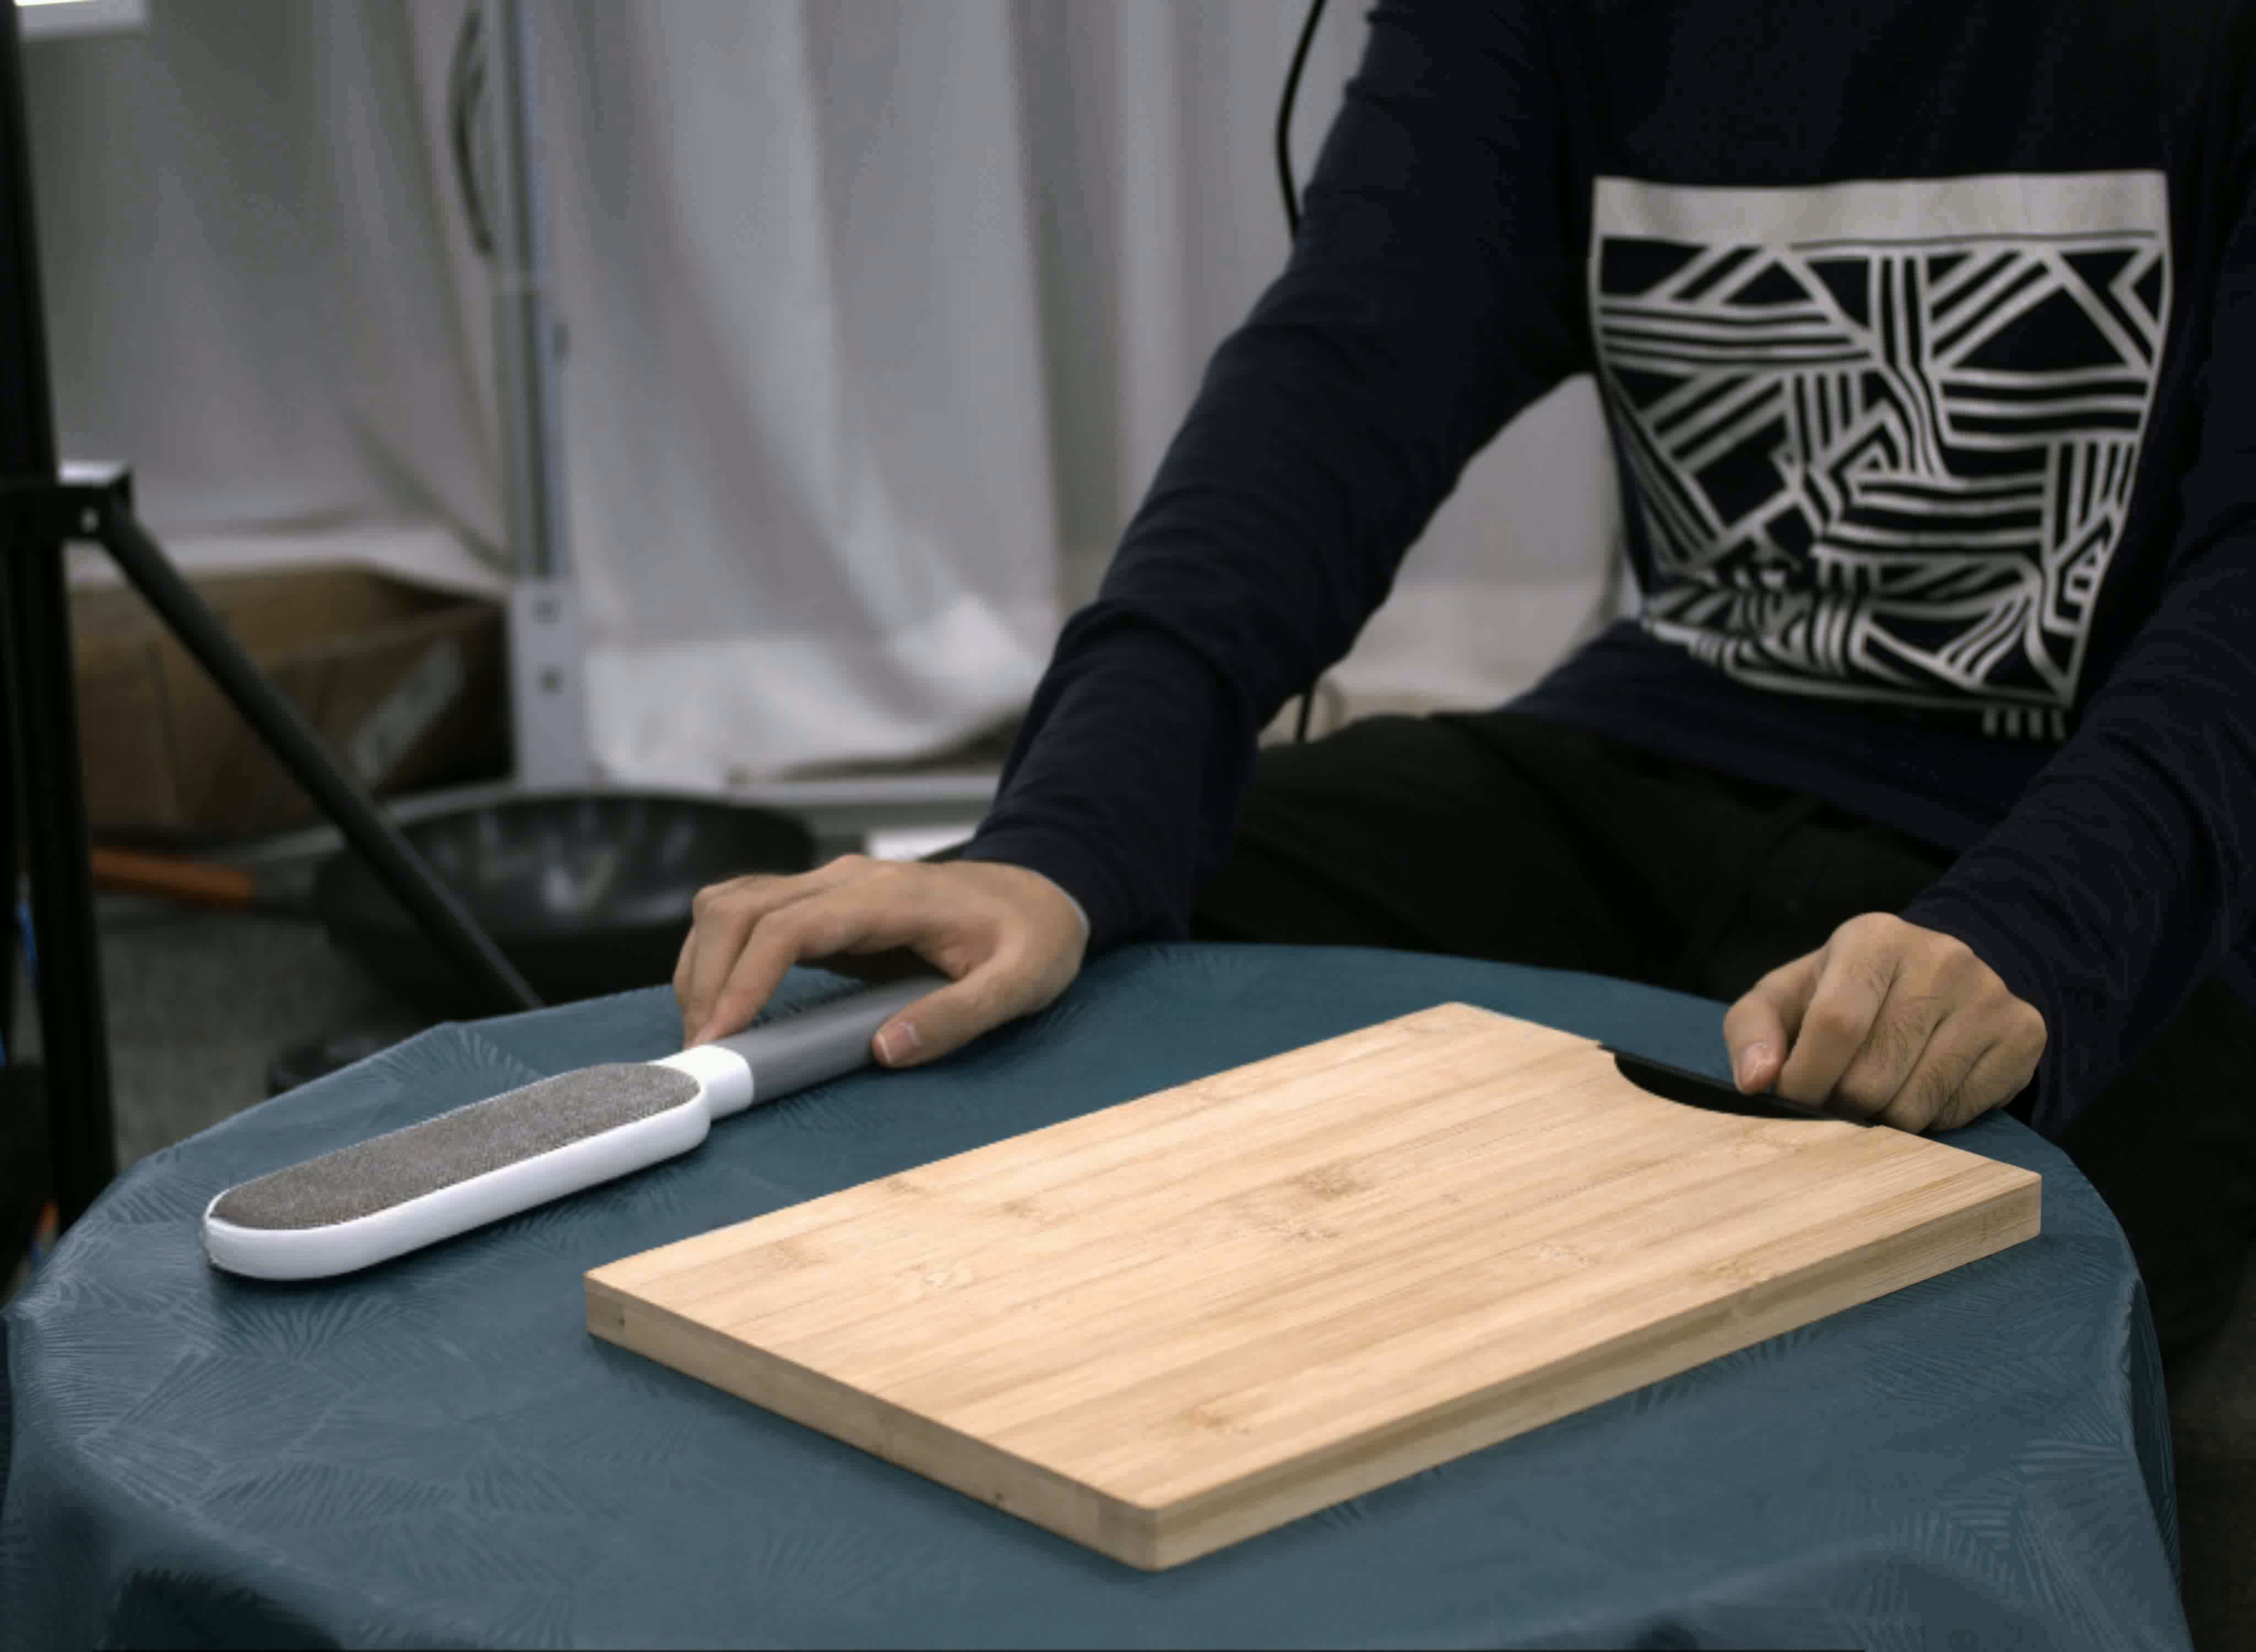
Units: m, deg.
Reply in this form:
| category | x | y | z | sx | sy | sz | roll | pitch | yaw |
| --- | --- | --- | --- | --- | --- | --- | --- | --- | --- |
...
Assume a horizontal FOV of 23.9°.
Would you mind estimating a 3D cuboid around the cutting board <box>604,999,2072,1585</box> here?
| category | x | y | z | sx | sy | sz | roll | pitch | yaw |
| --- | --- | --- | --- | --- | --- | --- | --- | --- | --- |
| cutting board | 0.059 | 0.120 | 1.483 | 0.340 | 0.023 | 0.256 | -15 | 21 | -38 |

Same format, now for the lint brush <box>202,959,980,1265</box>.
| category | x | y | z | sx | sy | sz | roll | pitch | yaw |
| --- | --- | --- | --- | --- | --- | --- | --- | --- | --- |
| lint brush | -0.153 | 0.084 | 1.620 | 0.061 | 0.021 | 0.302 | 5 | 16 | 43 |
